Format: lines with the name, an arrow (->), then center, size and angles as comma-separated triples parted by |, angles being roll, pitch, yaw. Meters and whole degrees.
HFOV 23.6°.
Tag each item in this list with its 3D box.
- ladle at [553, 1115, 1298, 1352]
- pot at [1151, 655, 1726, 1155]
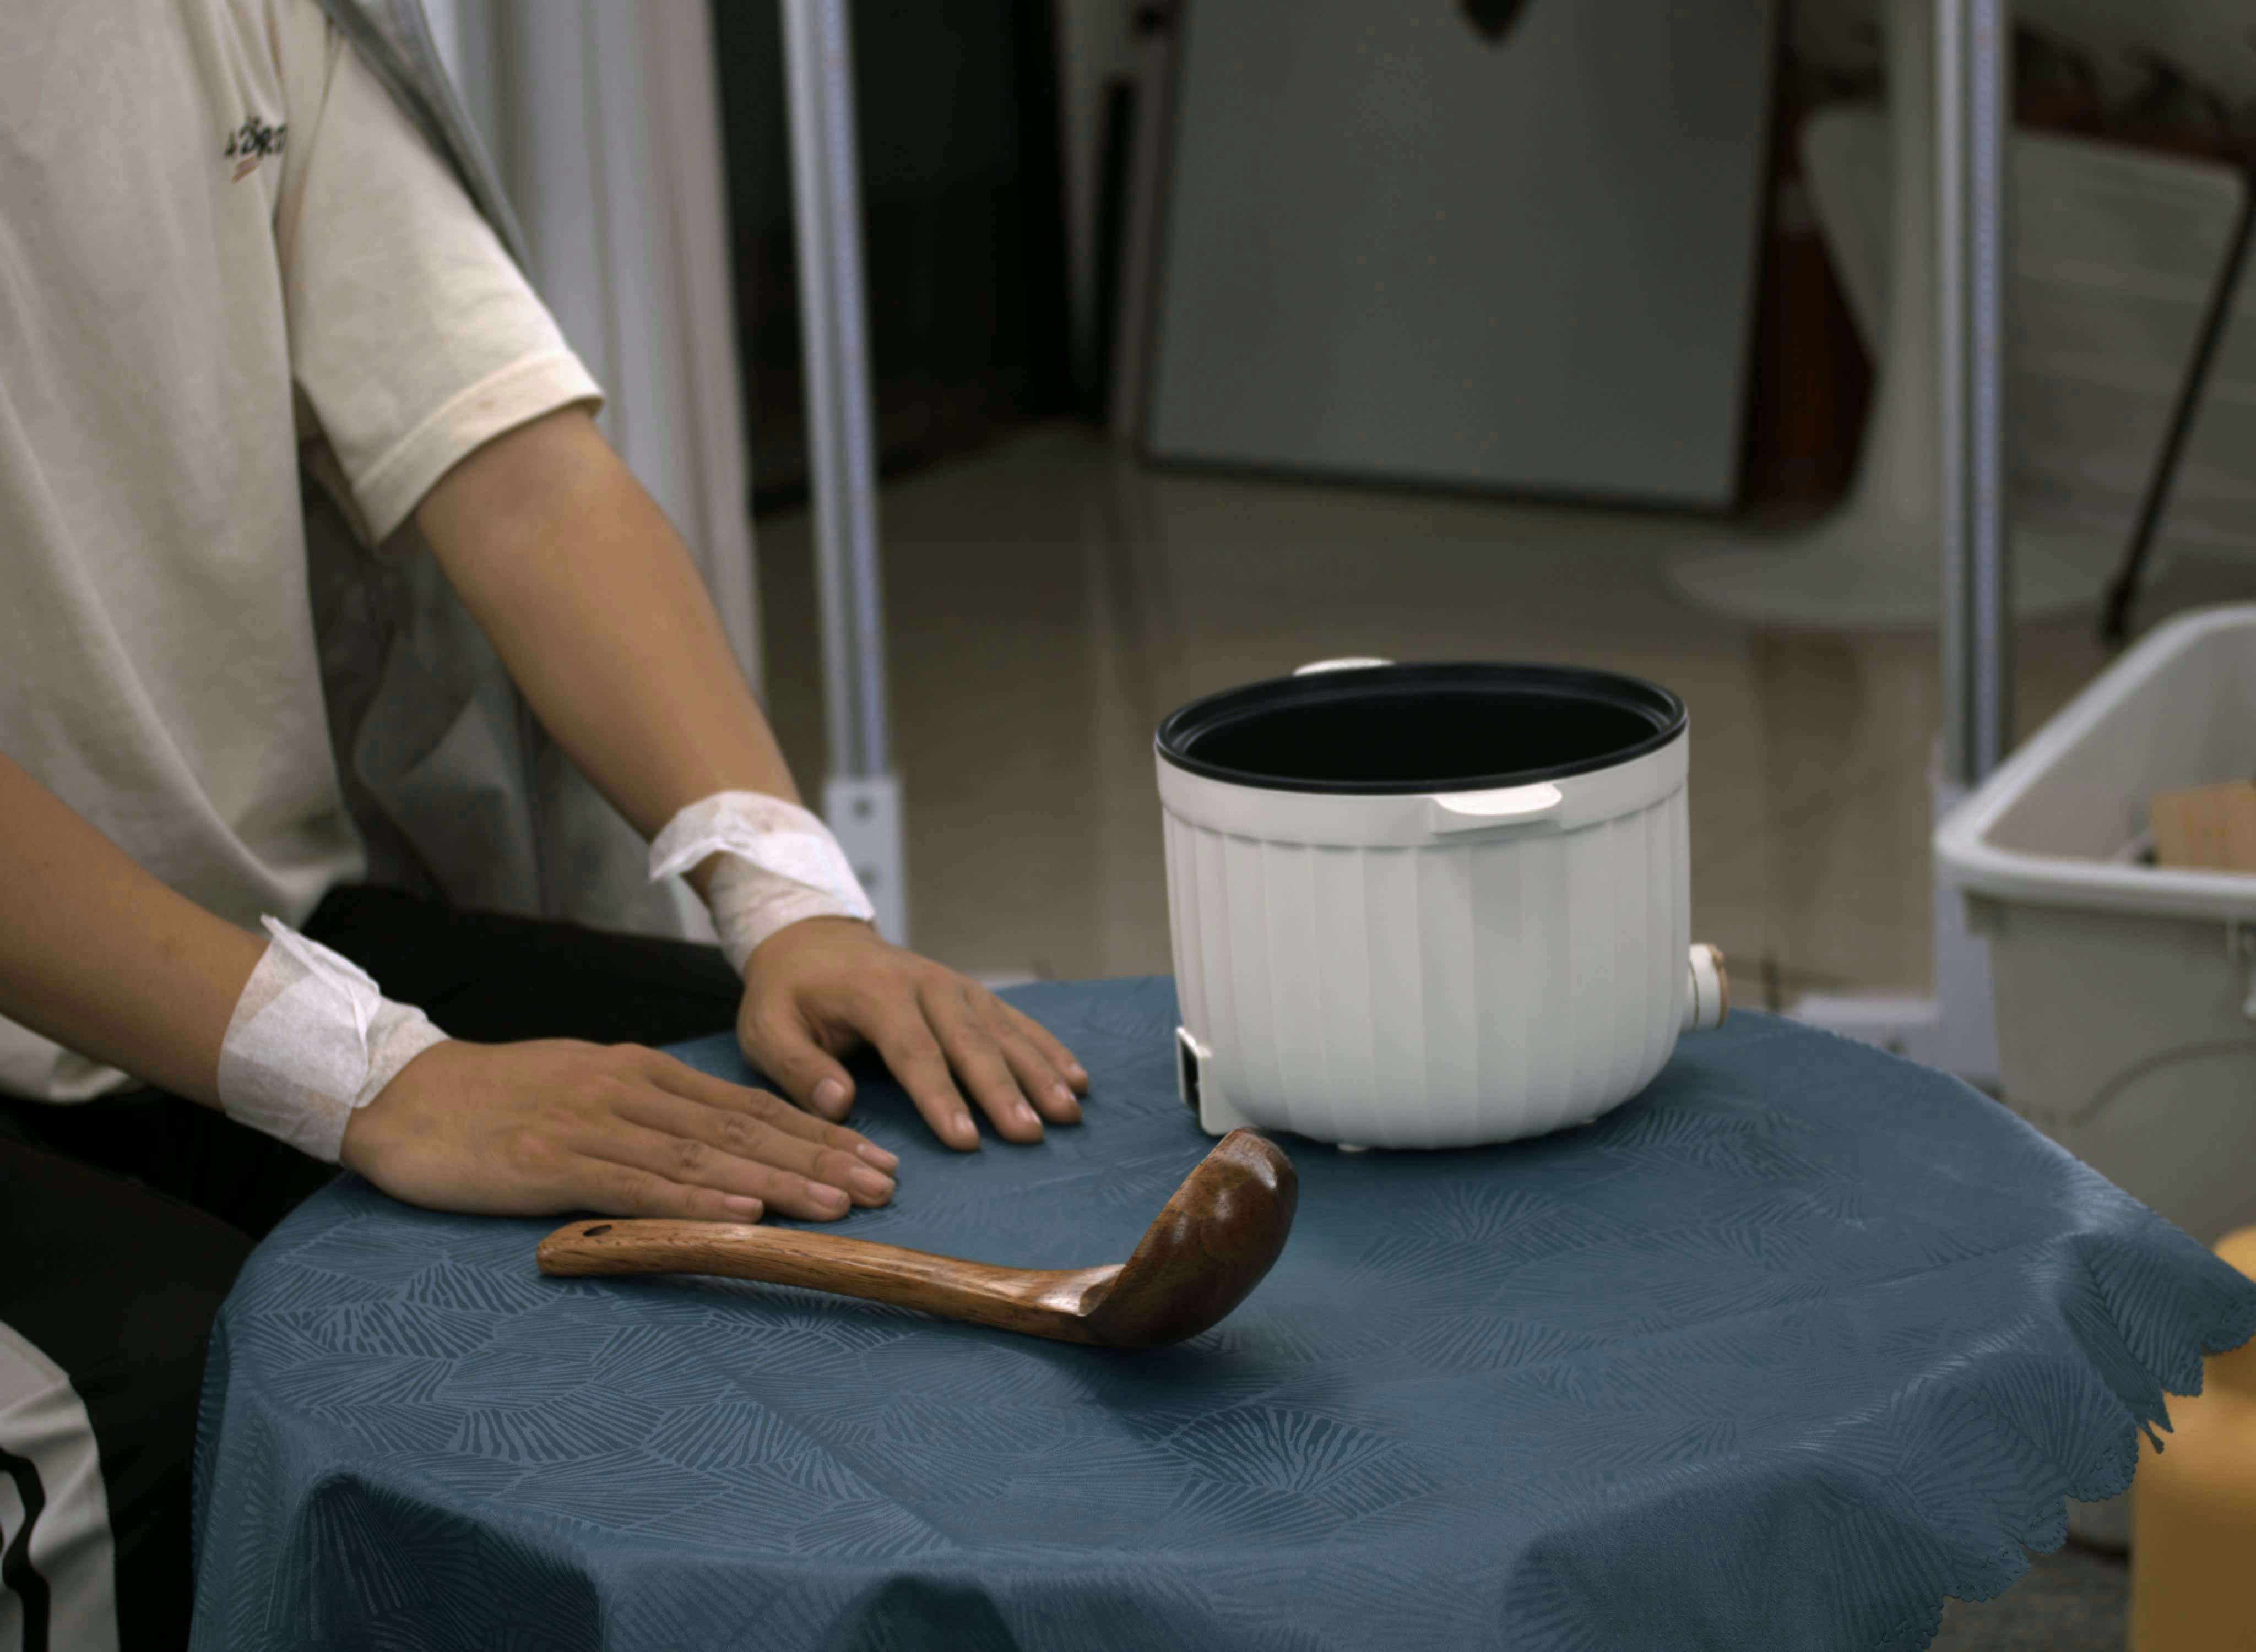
ladle -> -0.071, 0.115, 1.658 | 0.275, 0.077, 0.080 | 5, 18, 33
pot -> 0.107, 0.027, 1.834 | 0.187, 0.144, 0.242 | -10, 15, -10
